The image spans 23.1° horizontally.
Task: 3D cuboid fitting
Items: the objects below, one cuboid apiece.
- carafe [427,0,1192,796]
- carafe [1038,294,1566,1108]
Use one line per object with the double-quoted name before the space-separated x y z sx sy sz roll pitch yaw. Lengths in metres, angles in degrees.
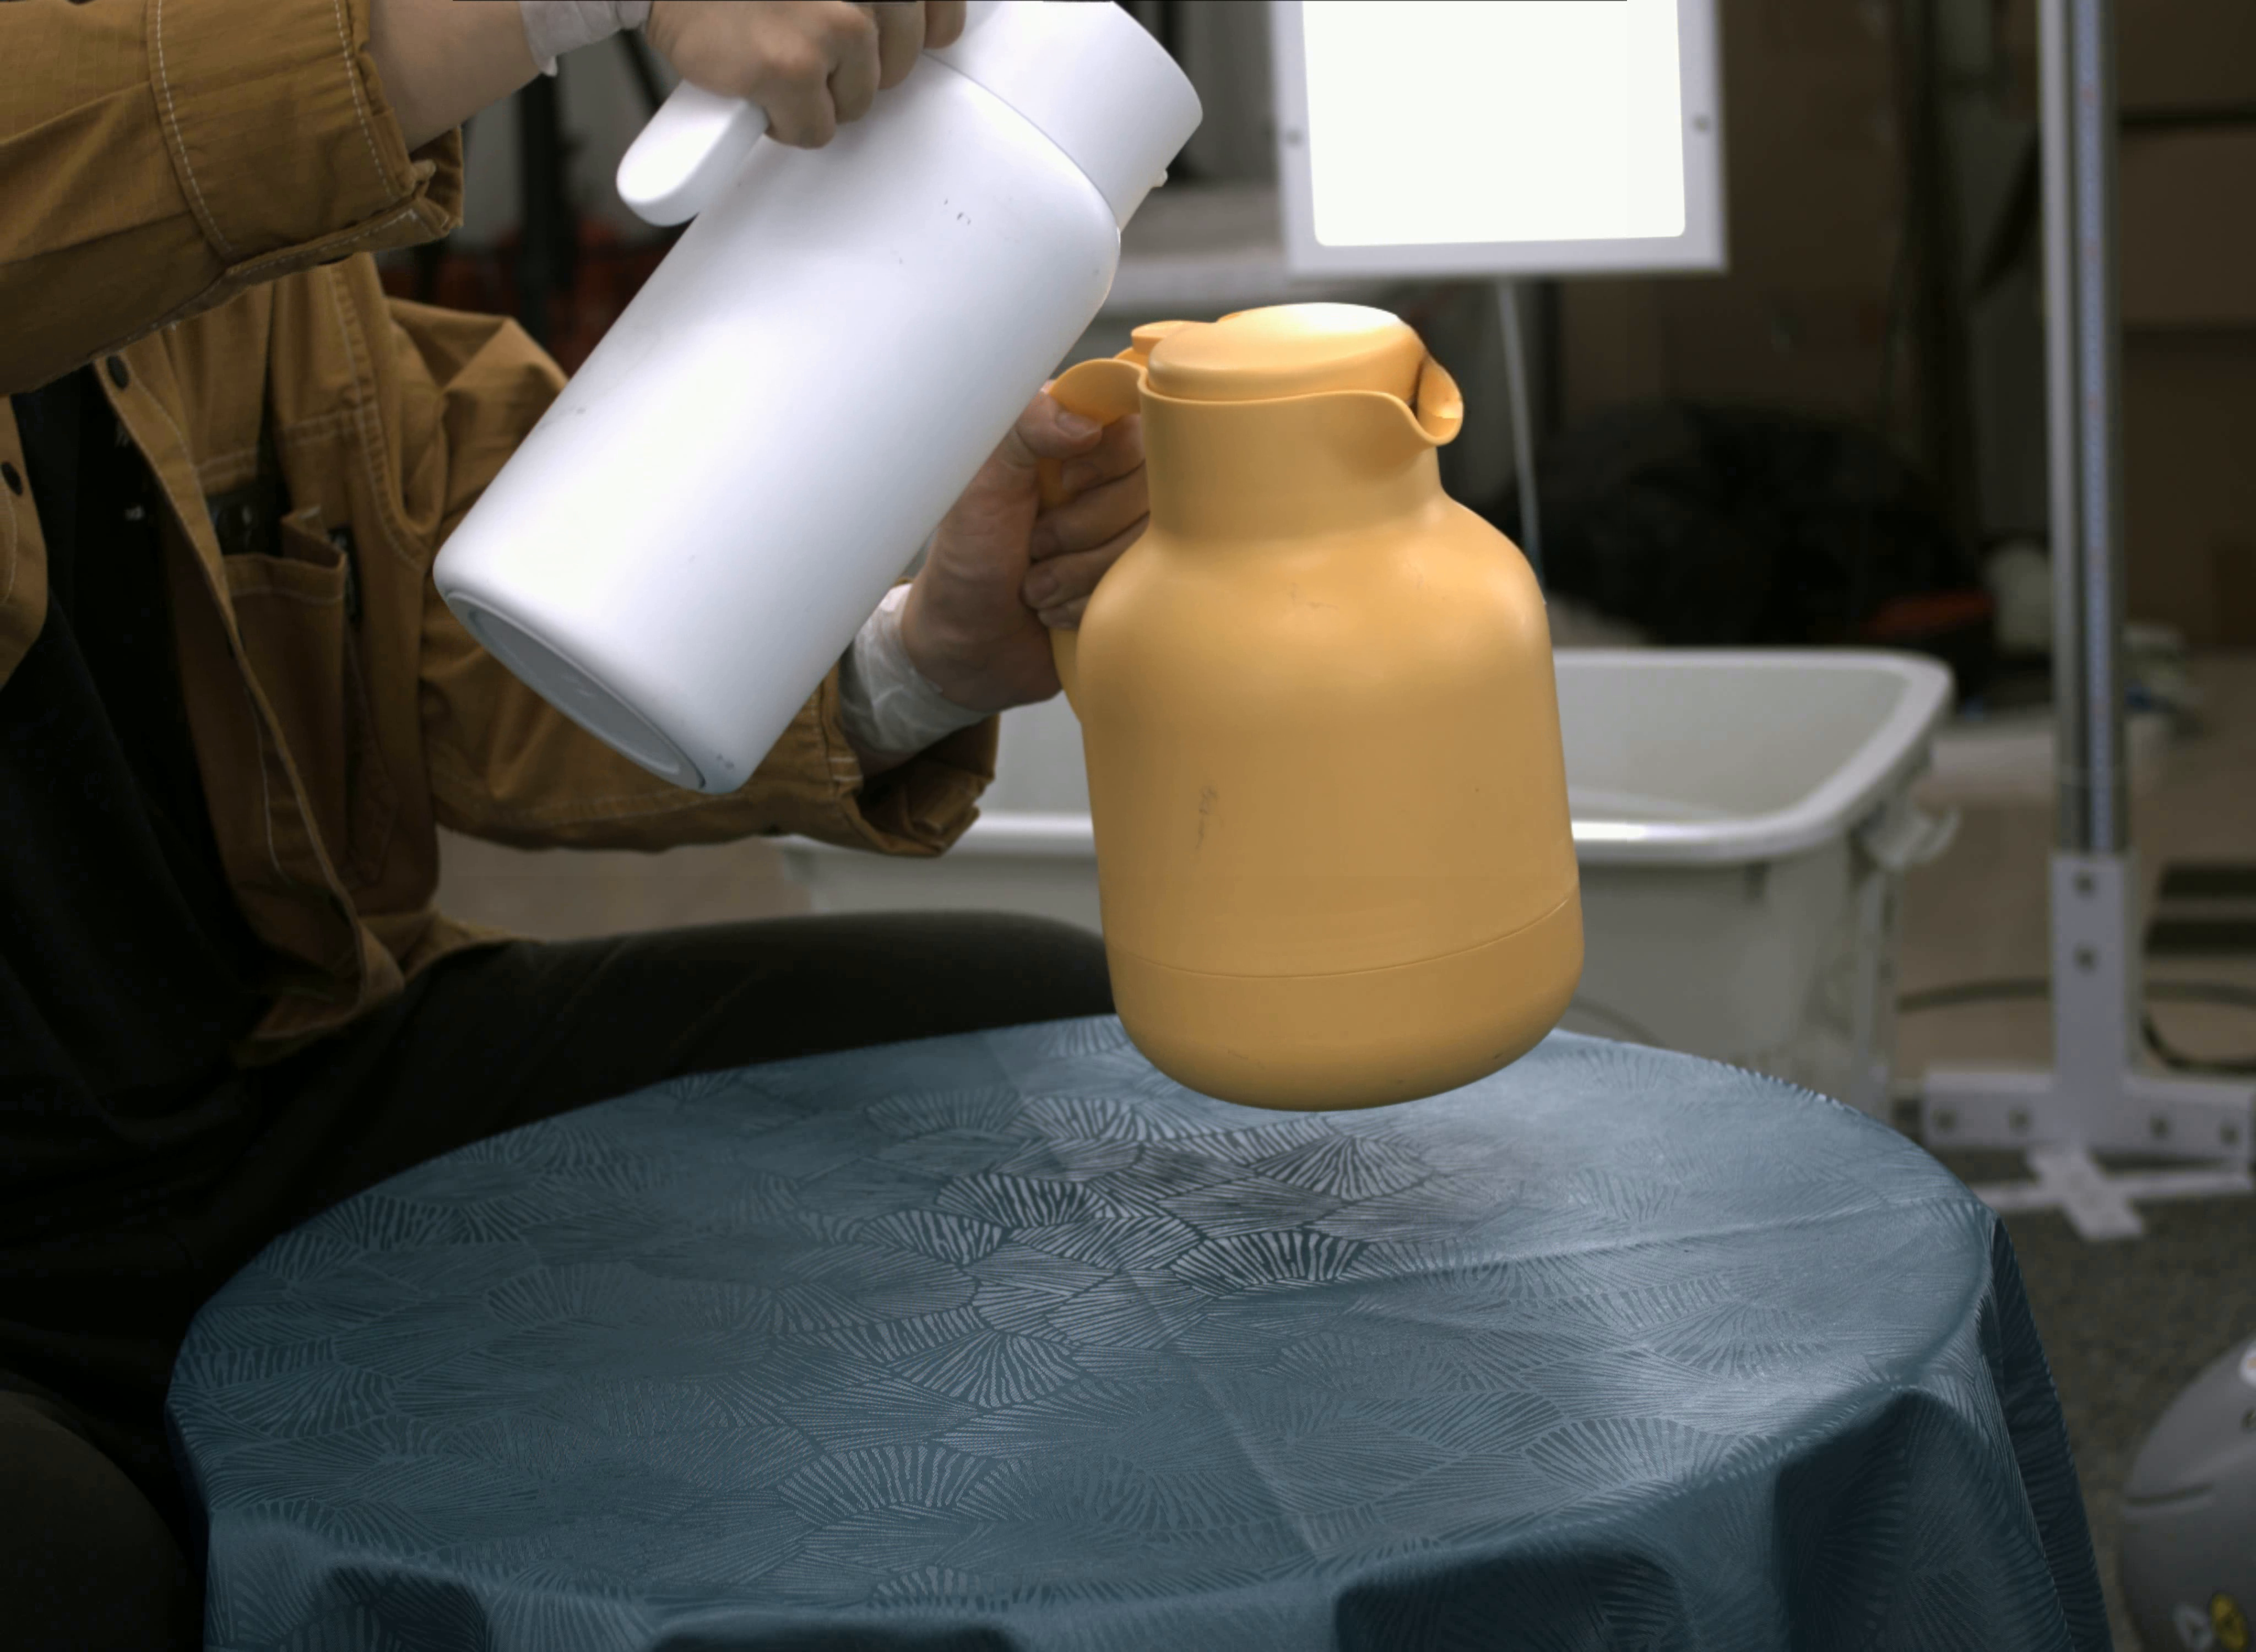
"carafe" -0.101 -0.154 1.688 0.126 0.170 0.268 31 80 42
"carafe" 0.050 -0.050 1.860 0.159 0.261 0.206 -17 22 -36
